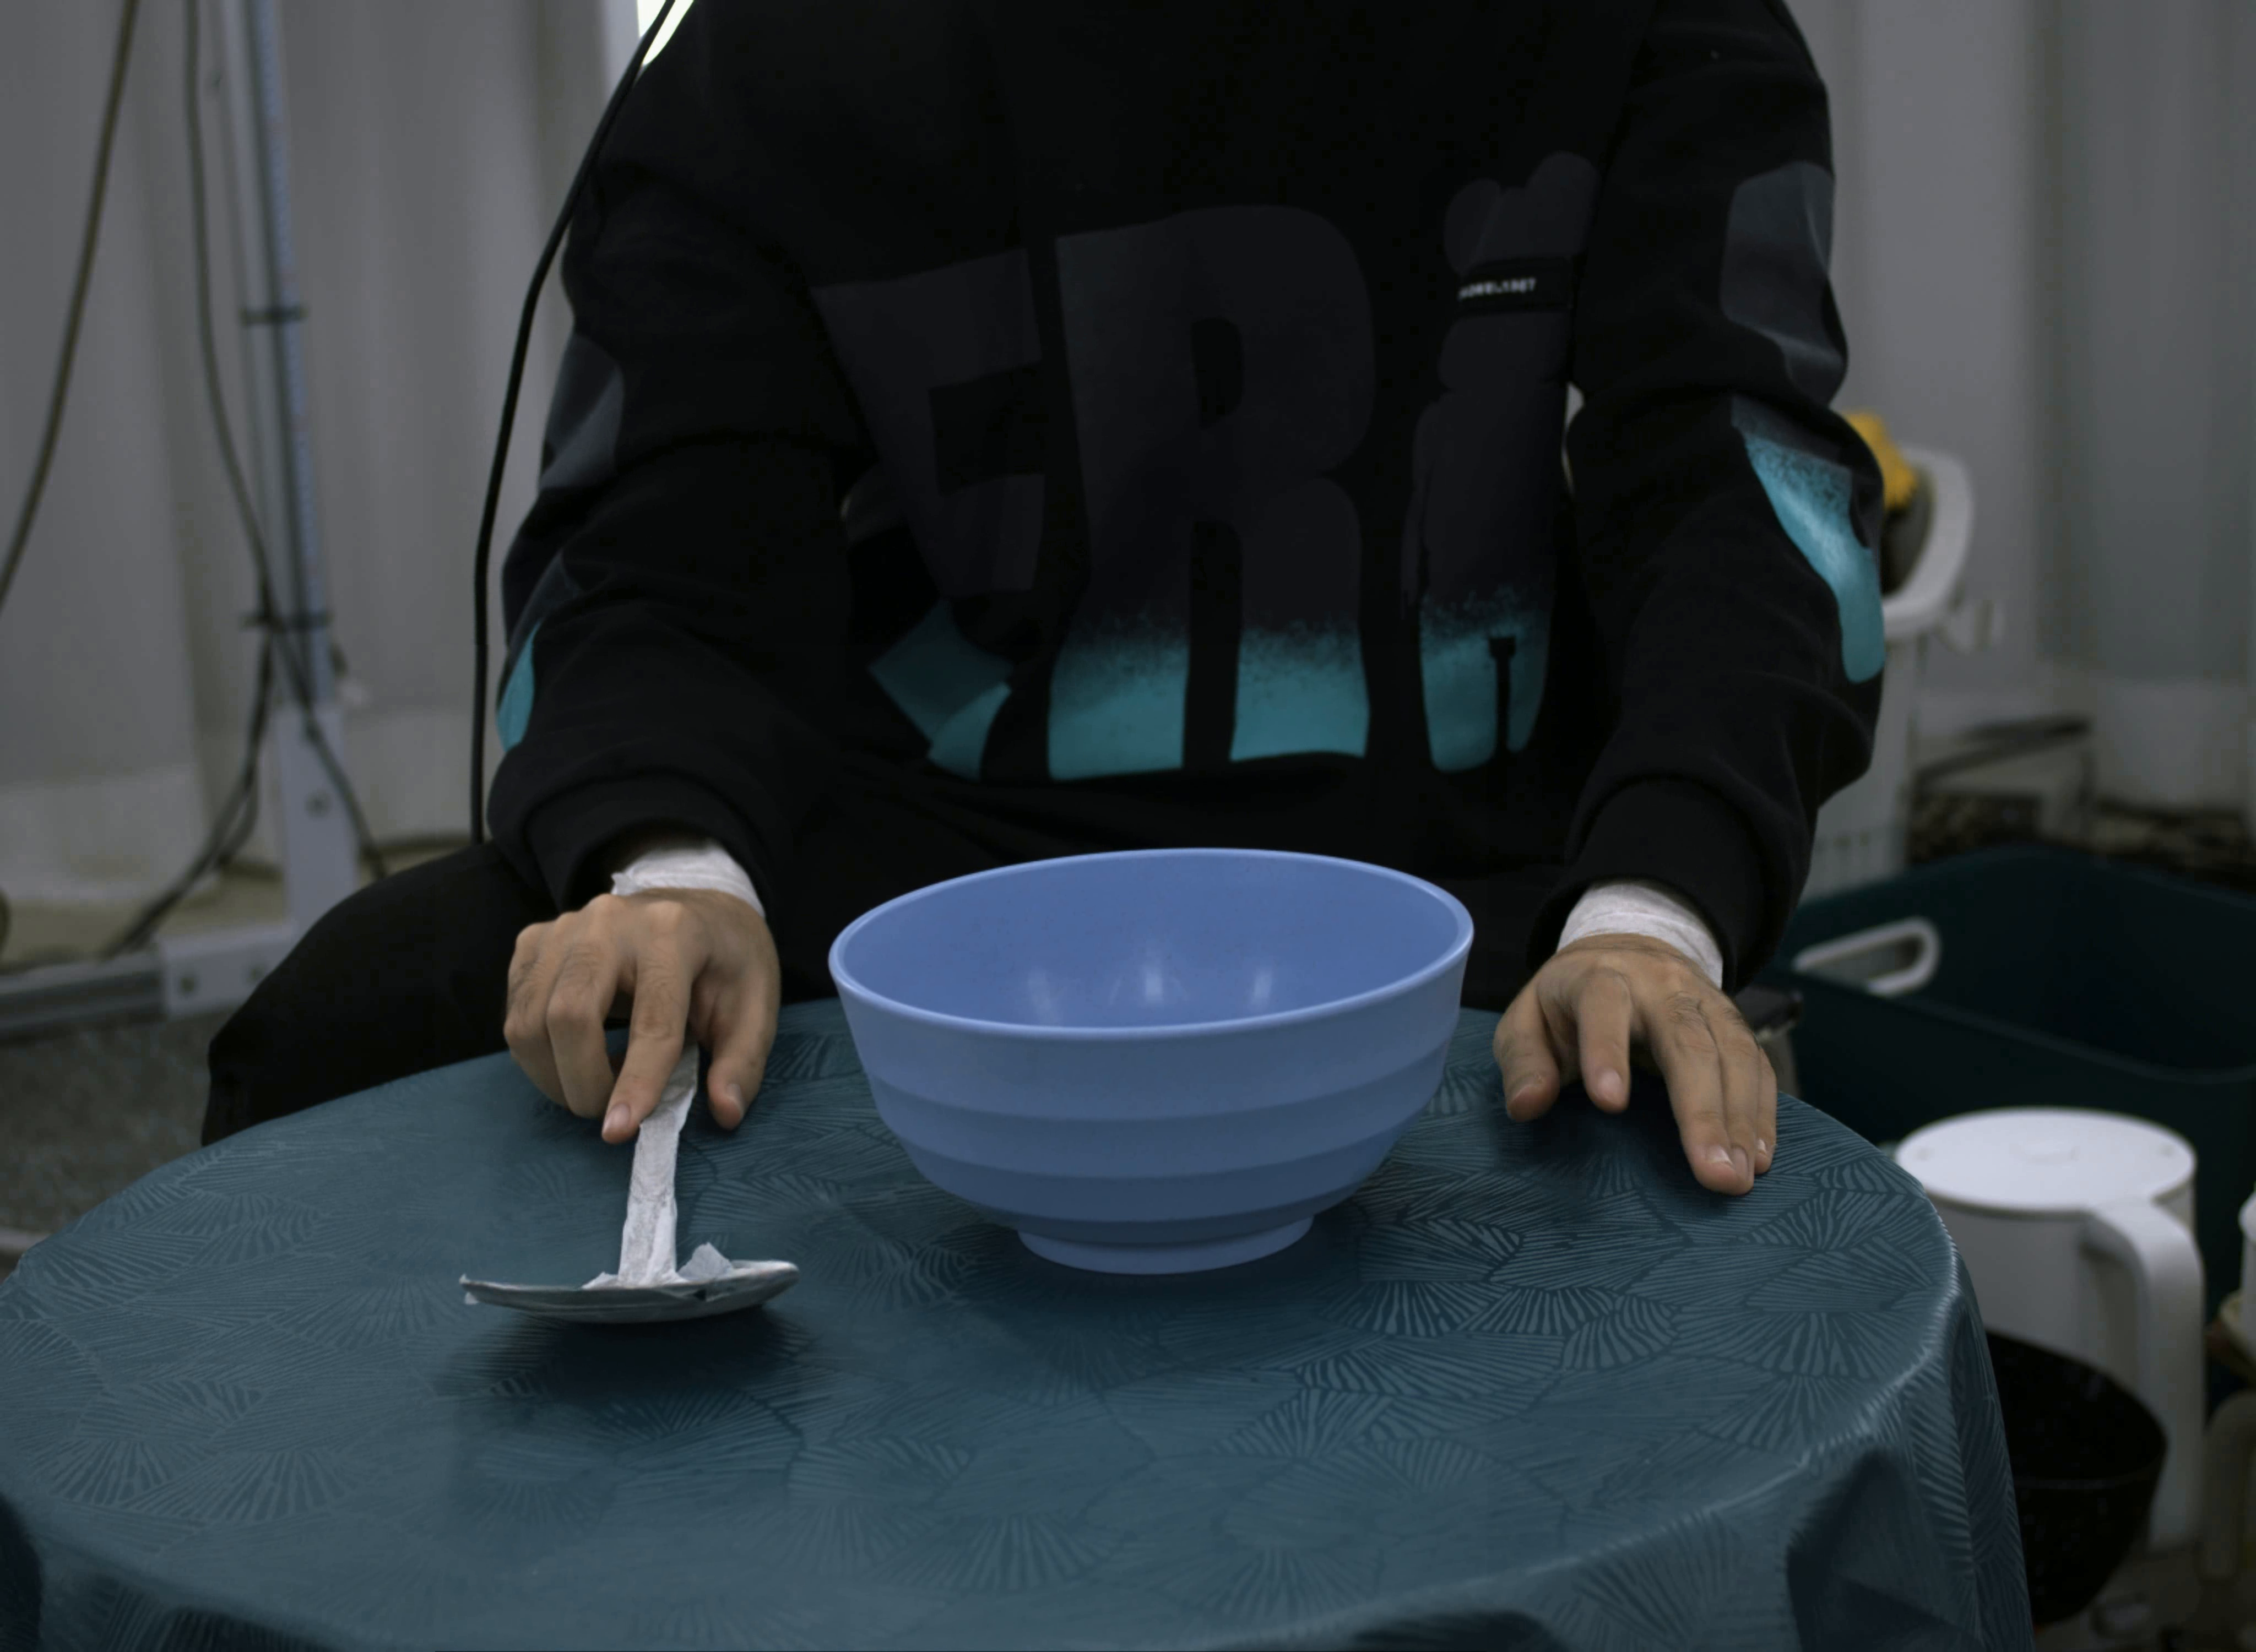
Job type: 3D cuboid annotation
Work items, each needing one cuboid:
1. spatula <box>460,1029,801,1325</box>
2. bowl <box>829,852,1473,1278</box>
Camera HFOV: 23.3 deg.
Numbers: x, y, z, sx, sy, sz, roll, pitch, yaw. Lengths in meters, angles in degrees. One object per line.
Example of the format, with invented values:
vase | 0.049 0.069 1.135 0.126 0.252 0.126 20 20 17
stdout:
spatula | -0.145 0.101 1.720 0.098 0.044 0.367 -4 15 0
bowl | 0.010 0.078 1.670 0.196 0.095 0.198 -4 15 1
